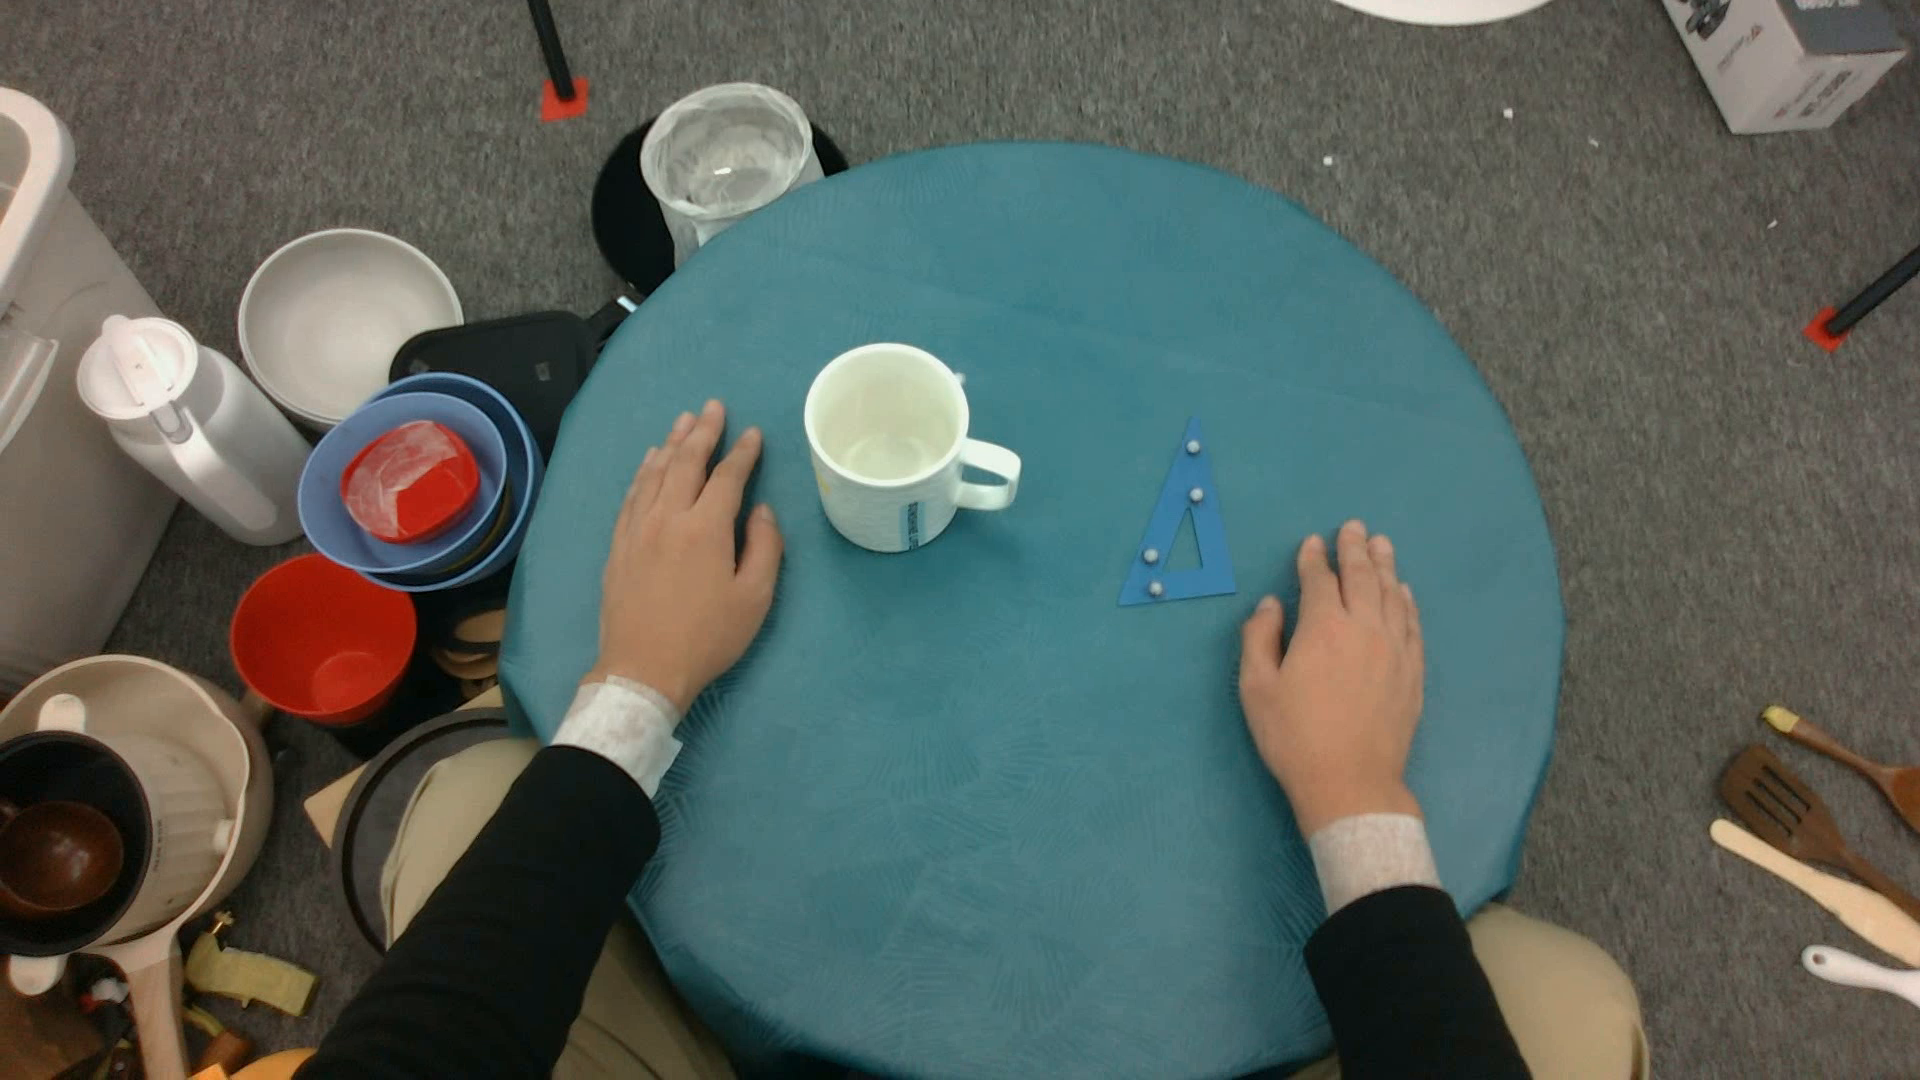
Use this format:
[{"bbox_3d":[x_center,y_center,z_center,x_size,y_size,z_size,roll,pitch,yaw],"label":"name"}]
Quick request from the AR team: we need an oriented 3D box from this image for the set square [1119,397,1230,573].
[{"bbox_3d":[0.145,-0.025,0.813,0.061,0.006,0.132,25,69,9],"label":"set square"}]

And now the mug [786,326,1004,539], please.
[{"bbox_3d":[-0.034,-0.052,0.764,0.118,0.101,0.085,16,68,4],"label":"mug"}]
